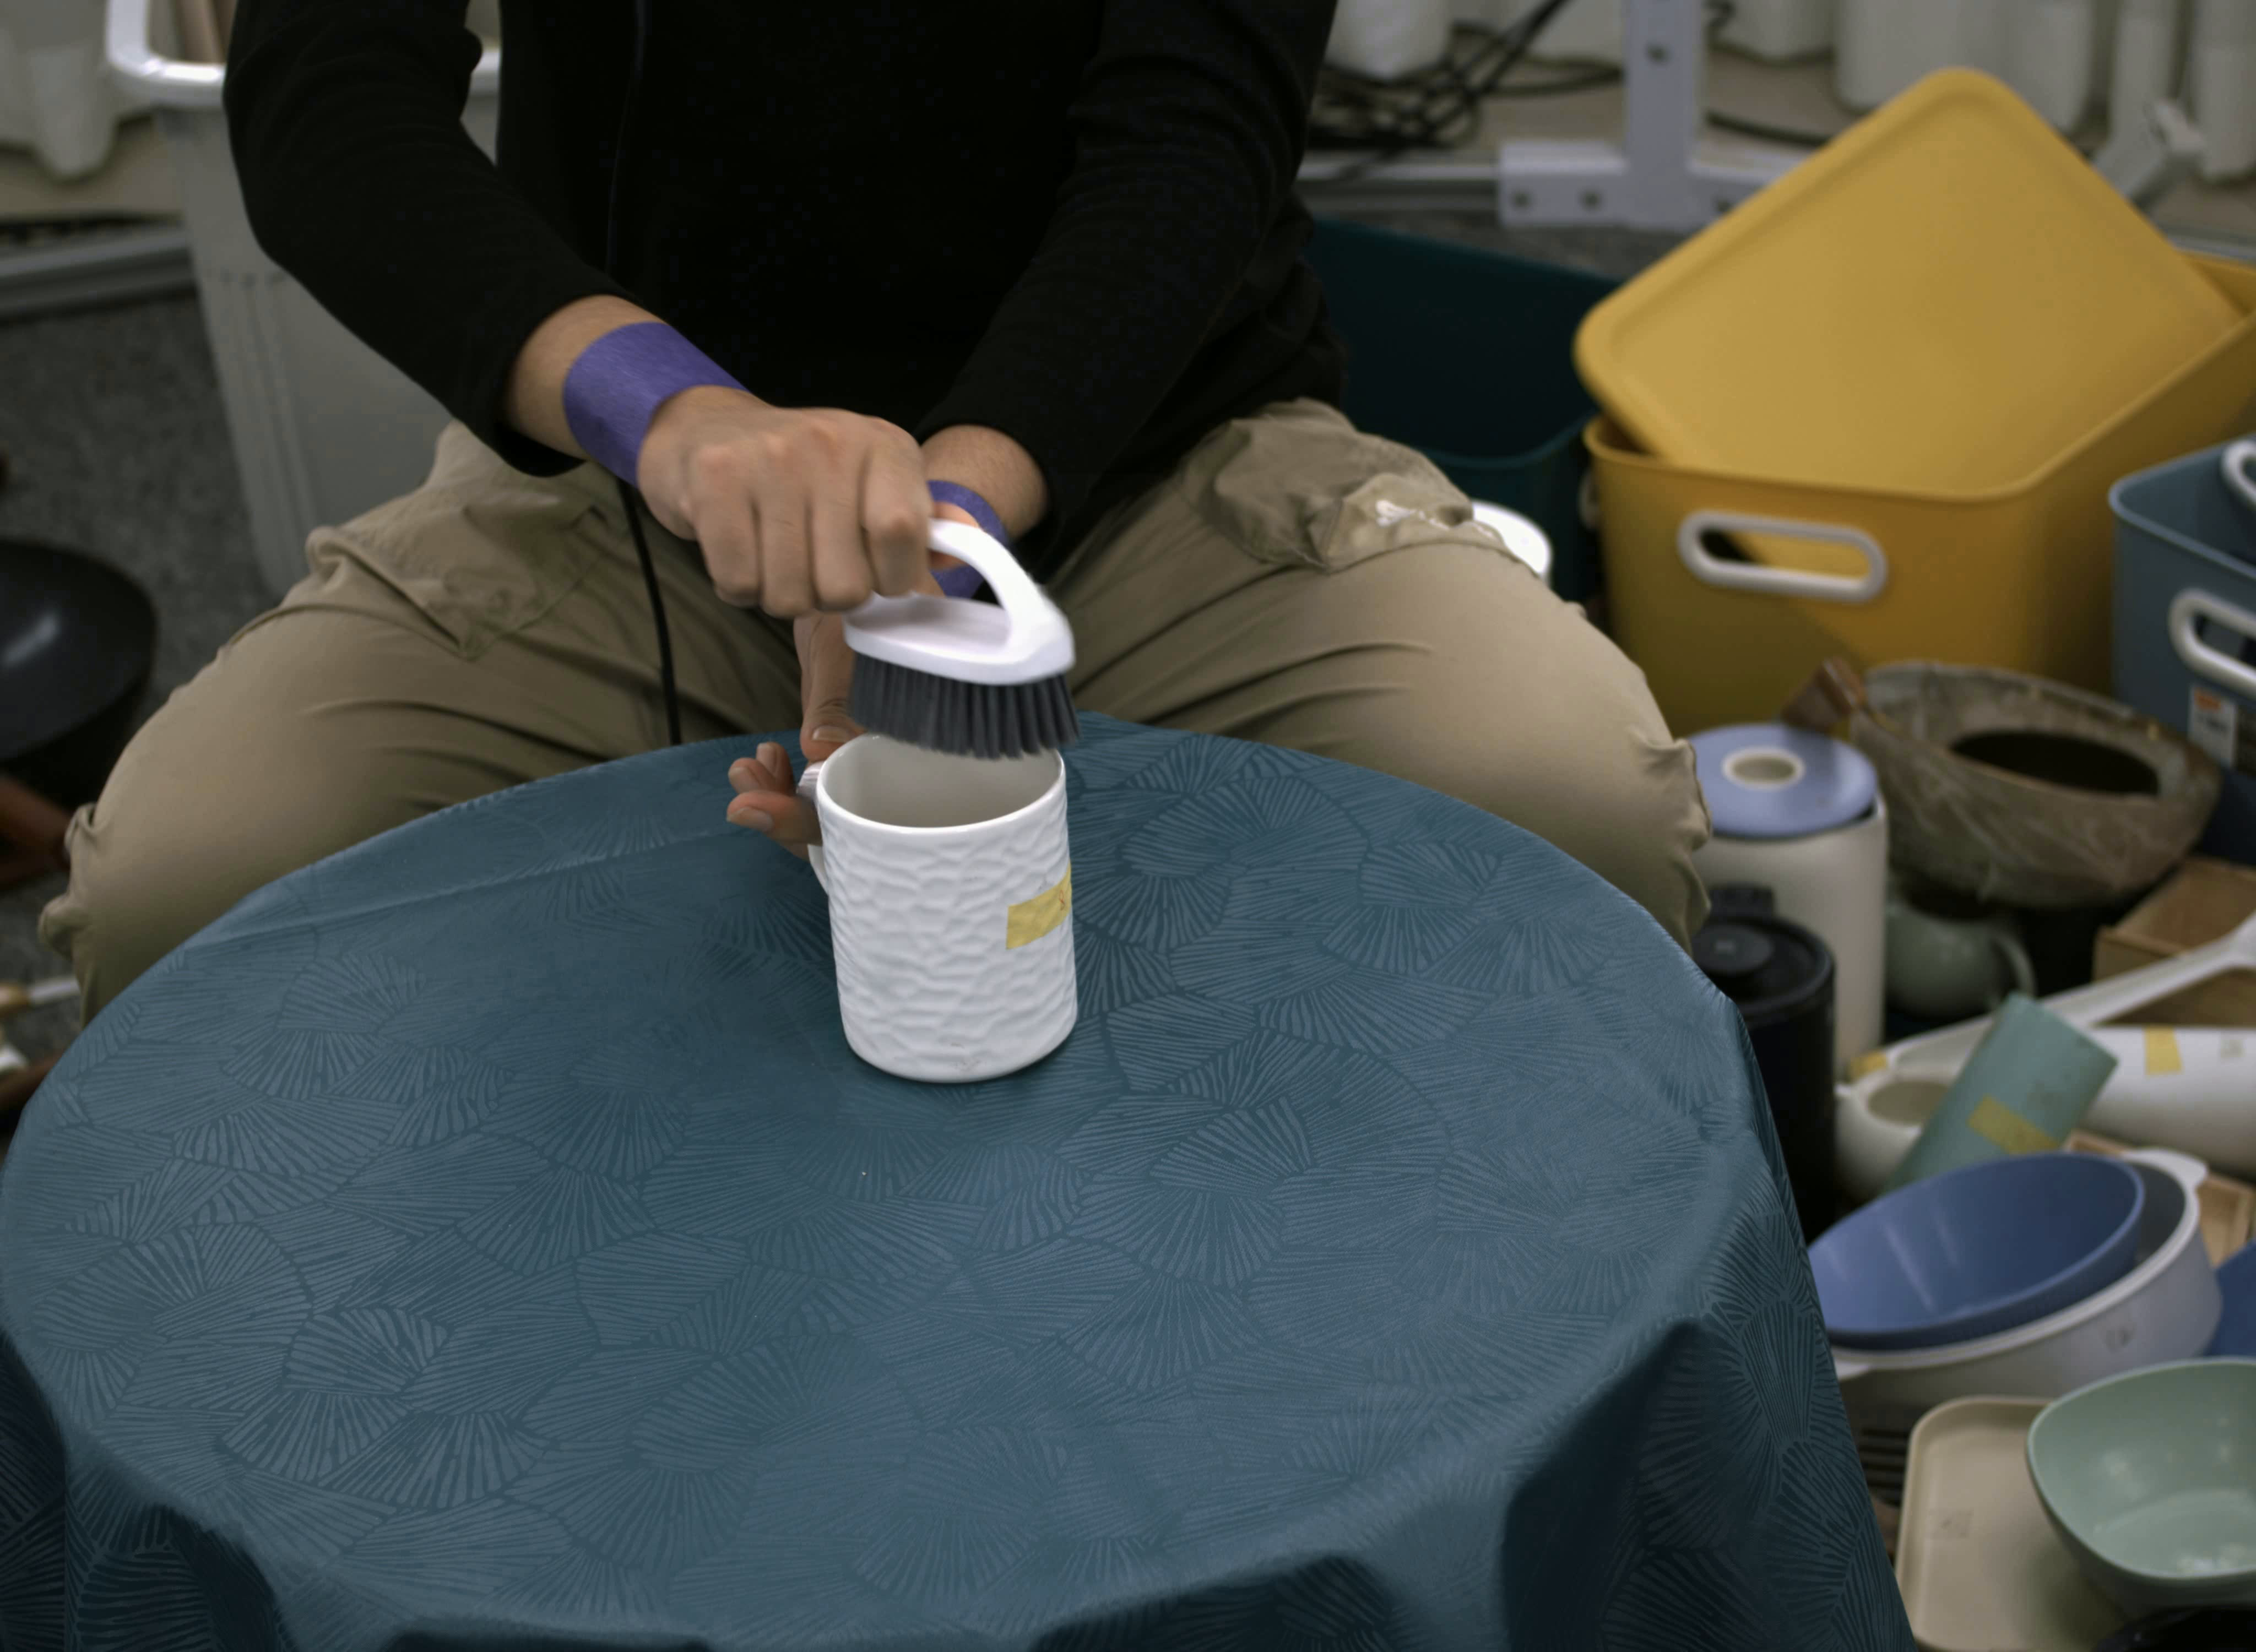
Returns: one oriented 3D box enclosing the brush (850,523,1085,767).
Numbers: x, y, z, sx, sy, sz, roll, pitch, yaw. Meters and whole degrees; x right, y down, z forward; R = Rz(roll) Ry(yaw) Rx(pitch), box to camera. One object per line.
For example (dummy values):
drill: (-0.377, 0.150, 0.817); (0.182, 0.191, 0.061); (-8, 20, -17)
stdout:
brush: (-0.057, -0.066, 1.924); (0.051, 0.072, 0.099); (-16, 22, -37)

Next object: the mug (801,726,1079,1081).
mug: (-0.072, 0.020, 1.952); (0.086, 0.101, 0.118); (-24, 33, -35)
